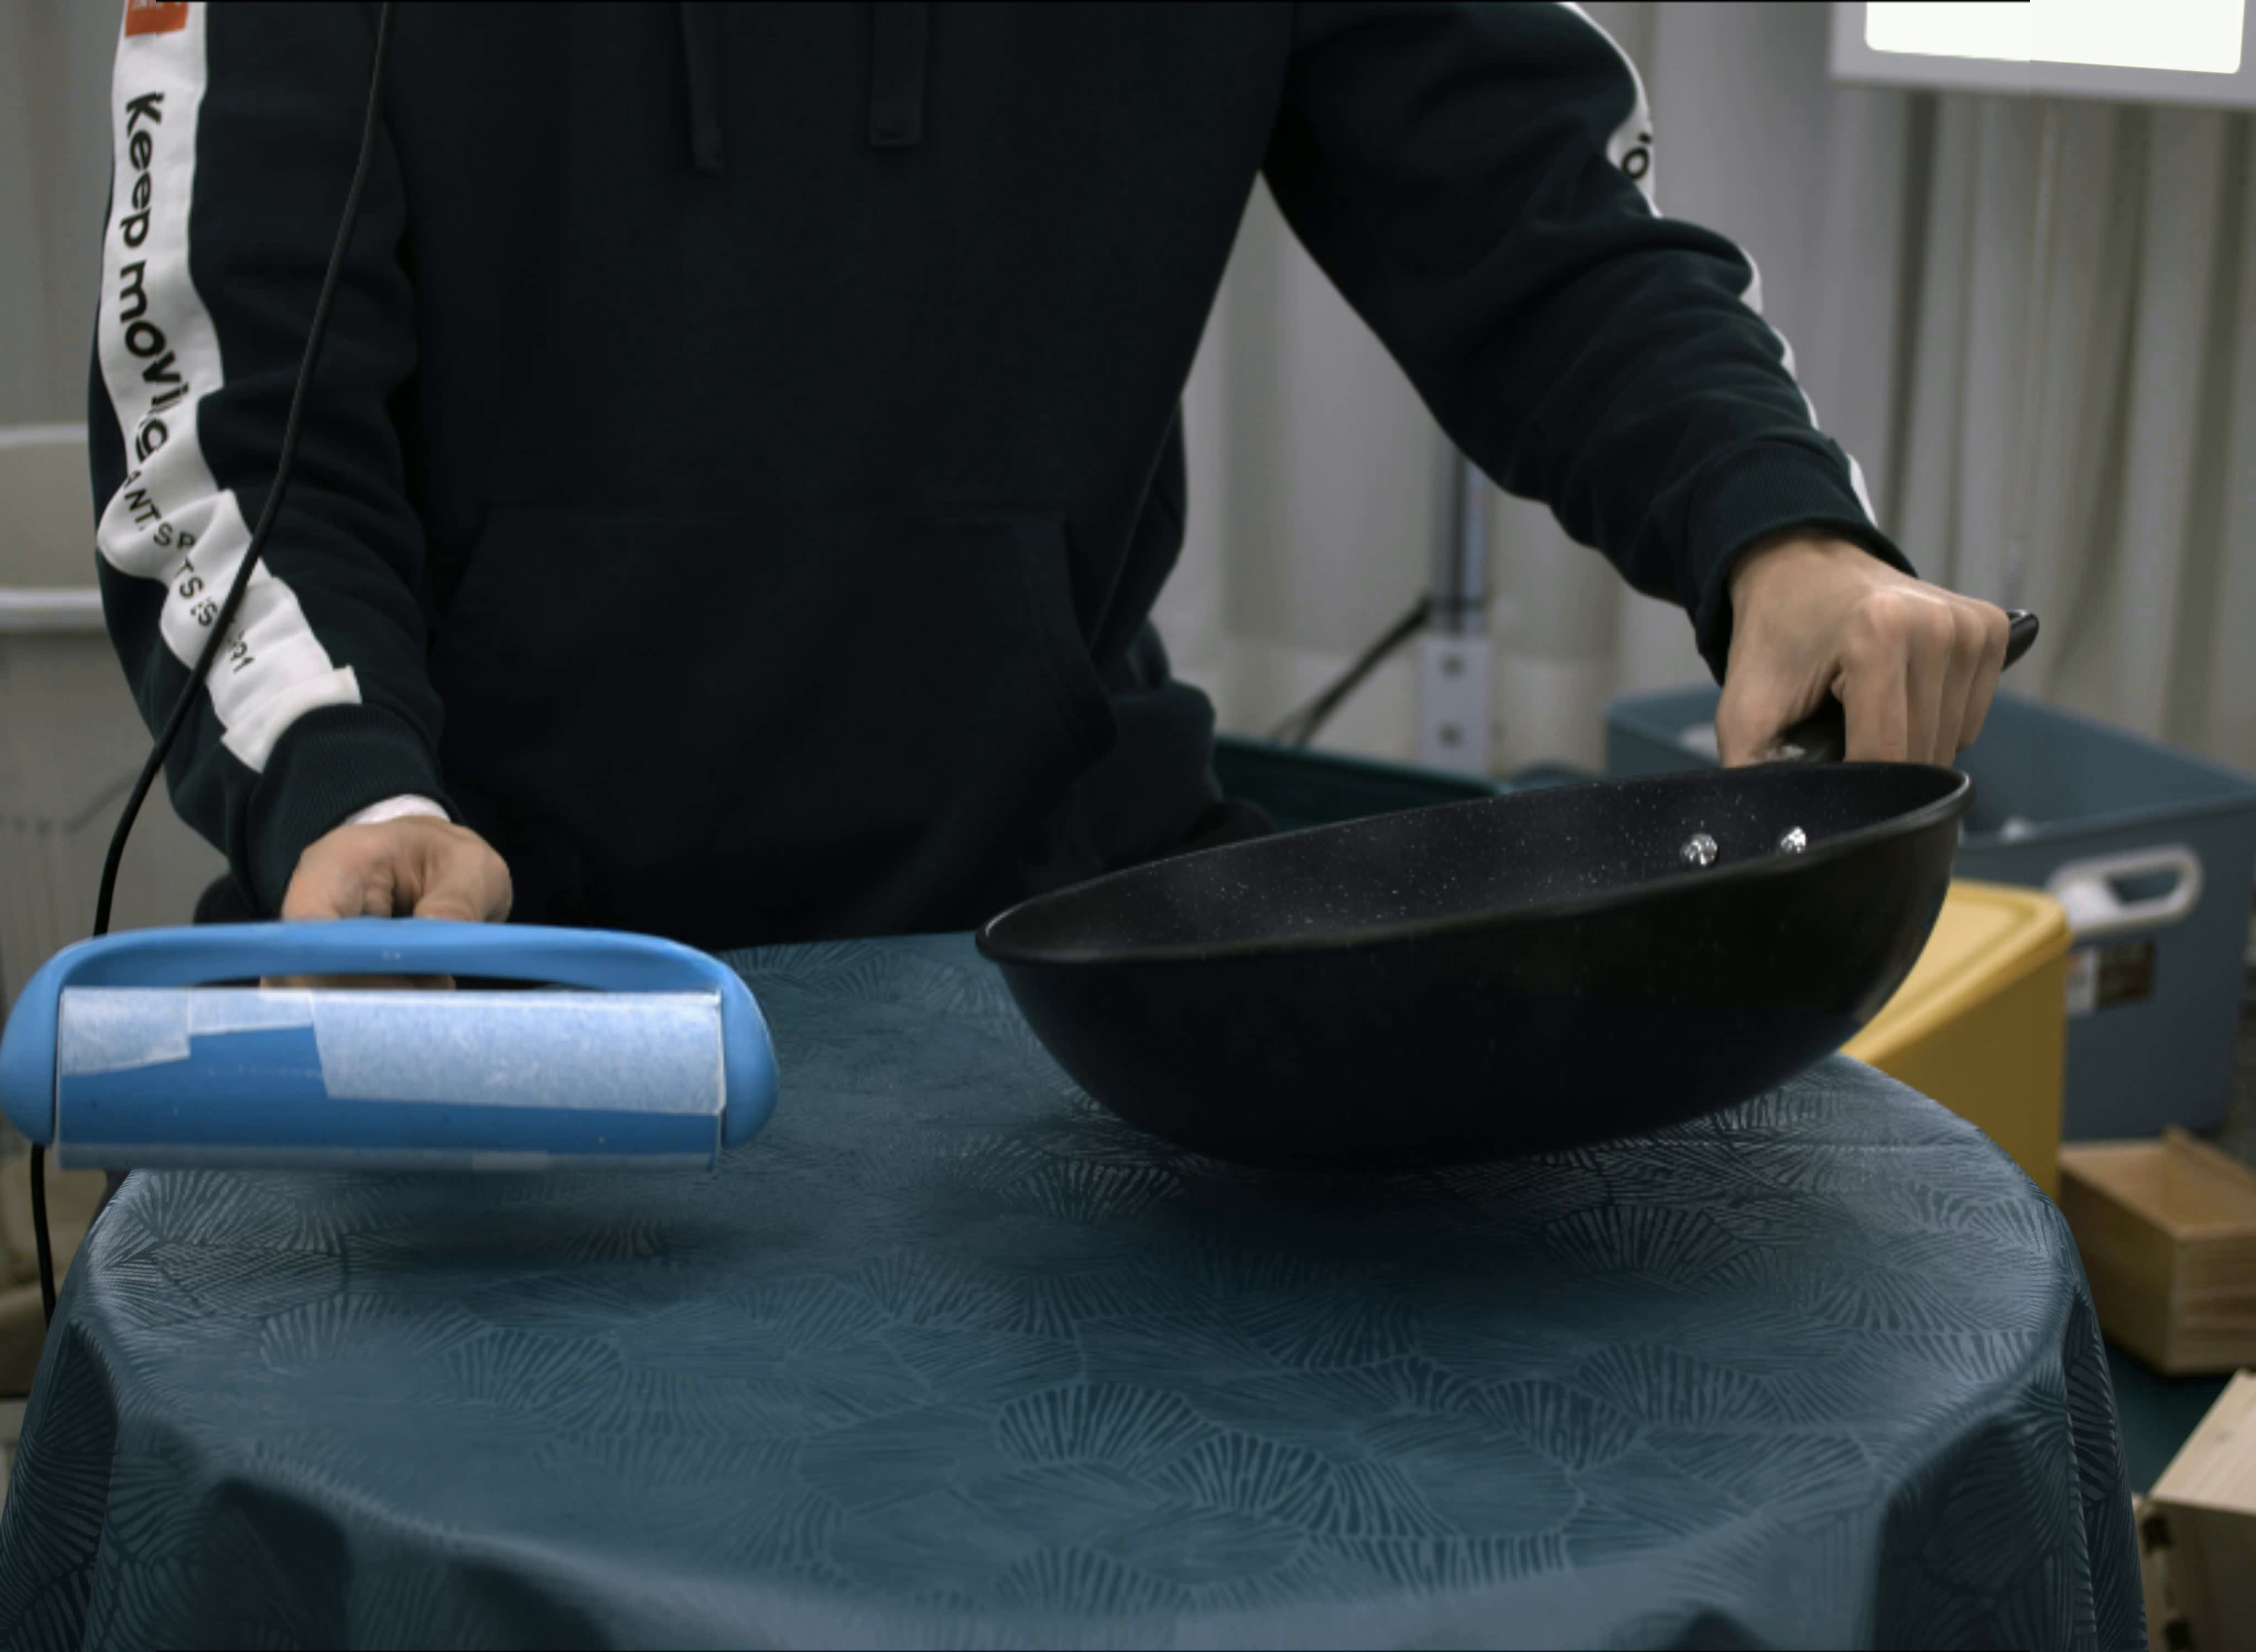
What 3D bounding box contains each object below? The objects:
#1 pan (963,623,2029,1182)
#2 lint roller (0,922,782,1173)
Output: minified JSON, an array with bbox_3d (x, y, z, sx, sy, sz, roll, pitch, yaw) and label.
[{"bbox_3d":[0.160,0.024,1.667,0.307,0.112,0.479,-3,8,40],"label":"pan"},{"bbox_3d":[-0.227,0.059,1.596,0.229,0.068,0.178,-1,14,-13],"label":"lint roller"}]
